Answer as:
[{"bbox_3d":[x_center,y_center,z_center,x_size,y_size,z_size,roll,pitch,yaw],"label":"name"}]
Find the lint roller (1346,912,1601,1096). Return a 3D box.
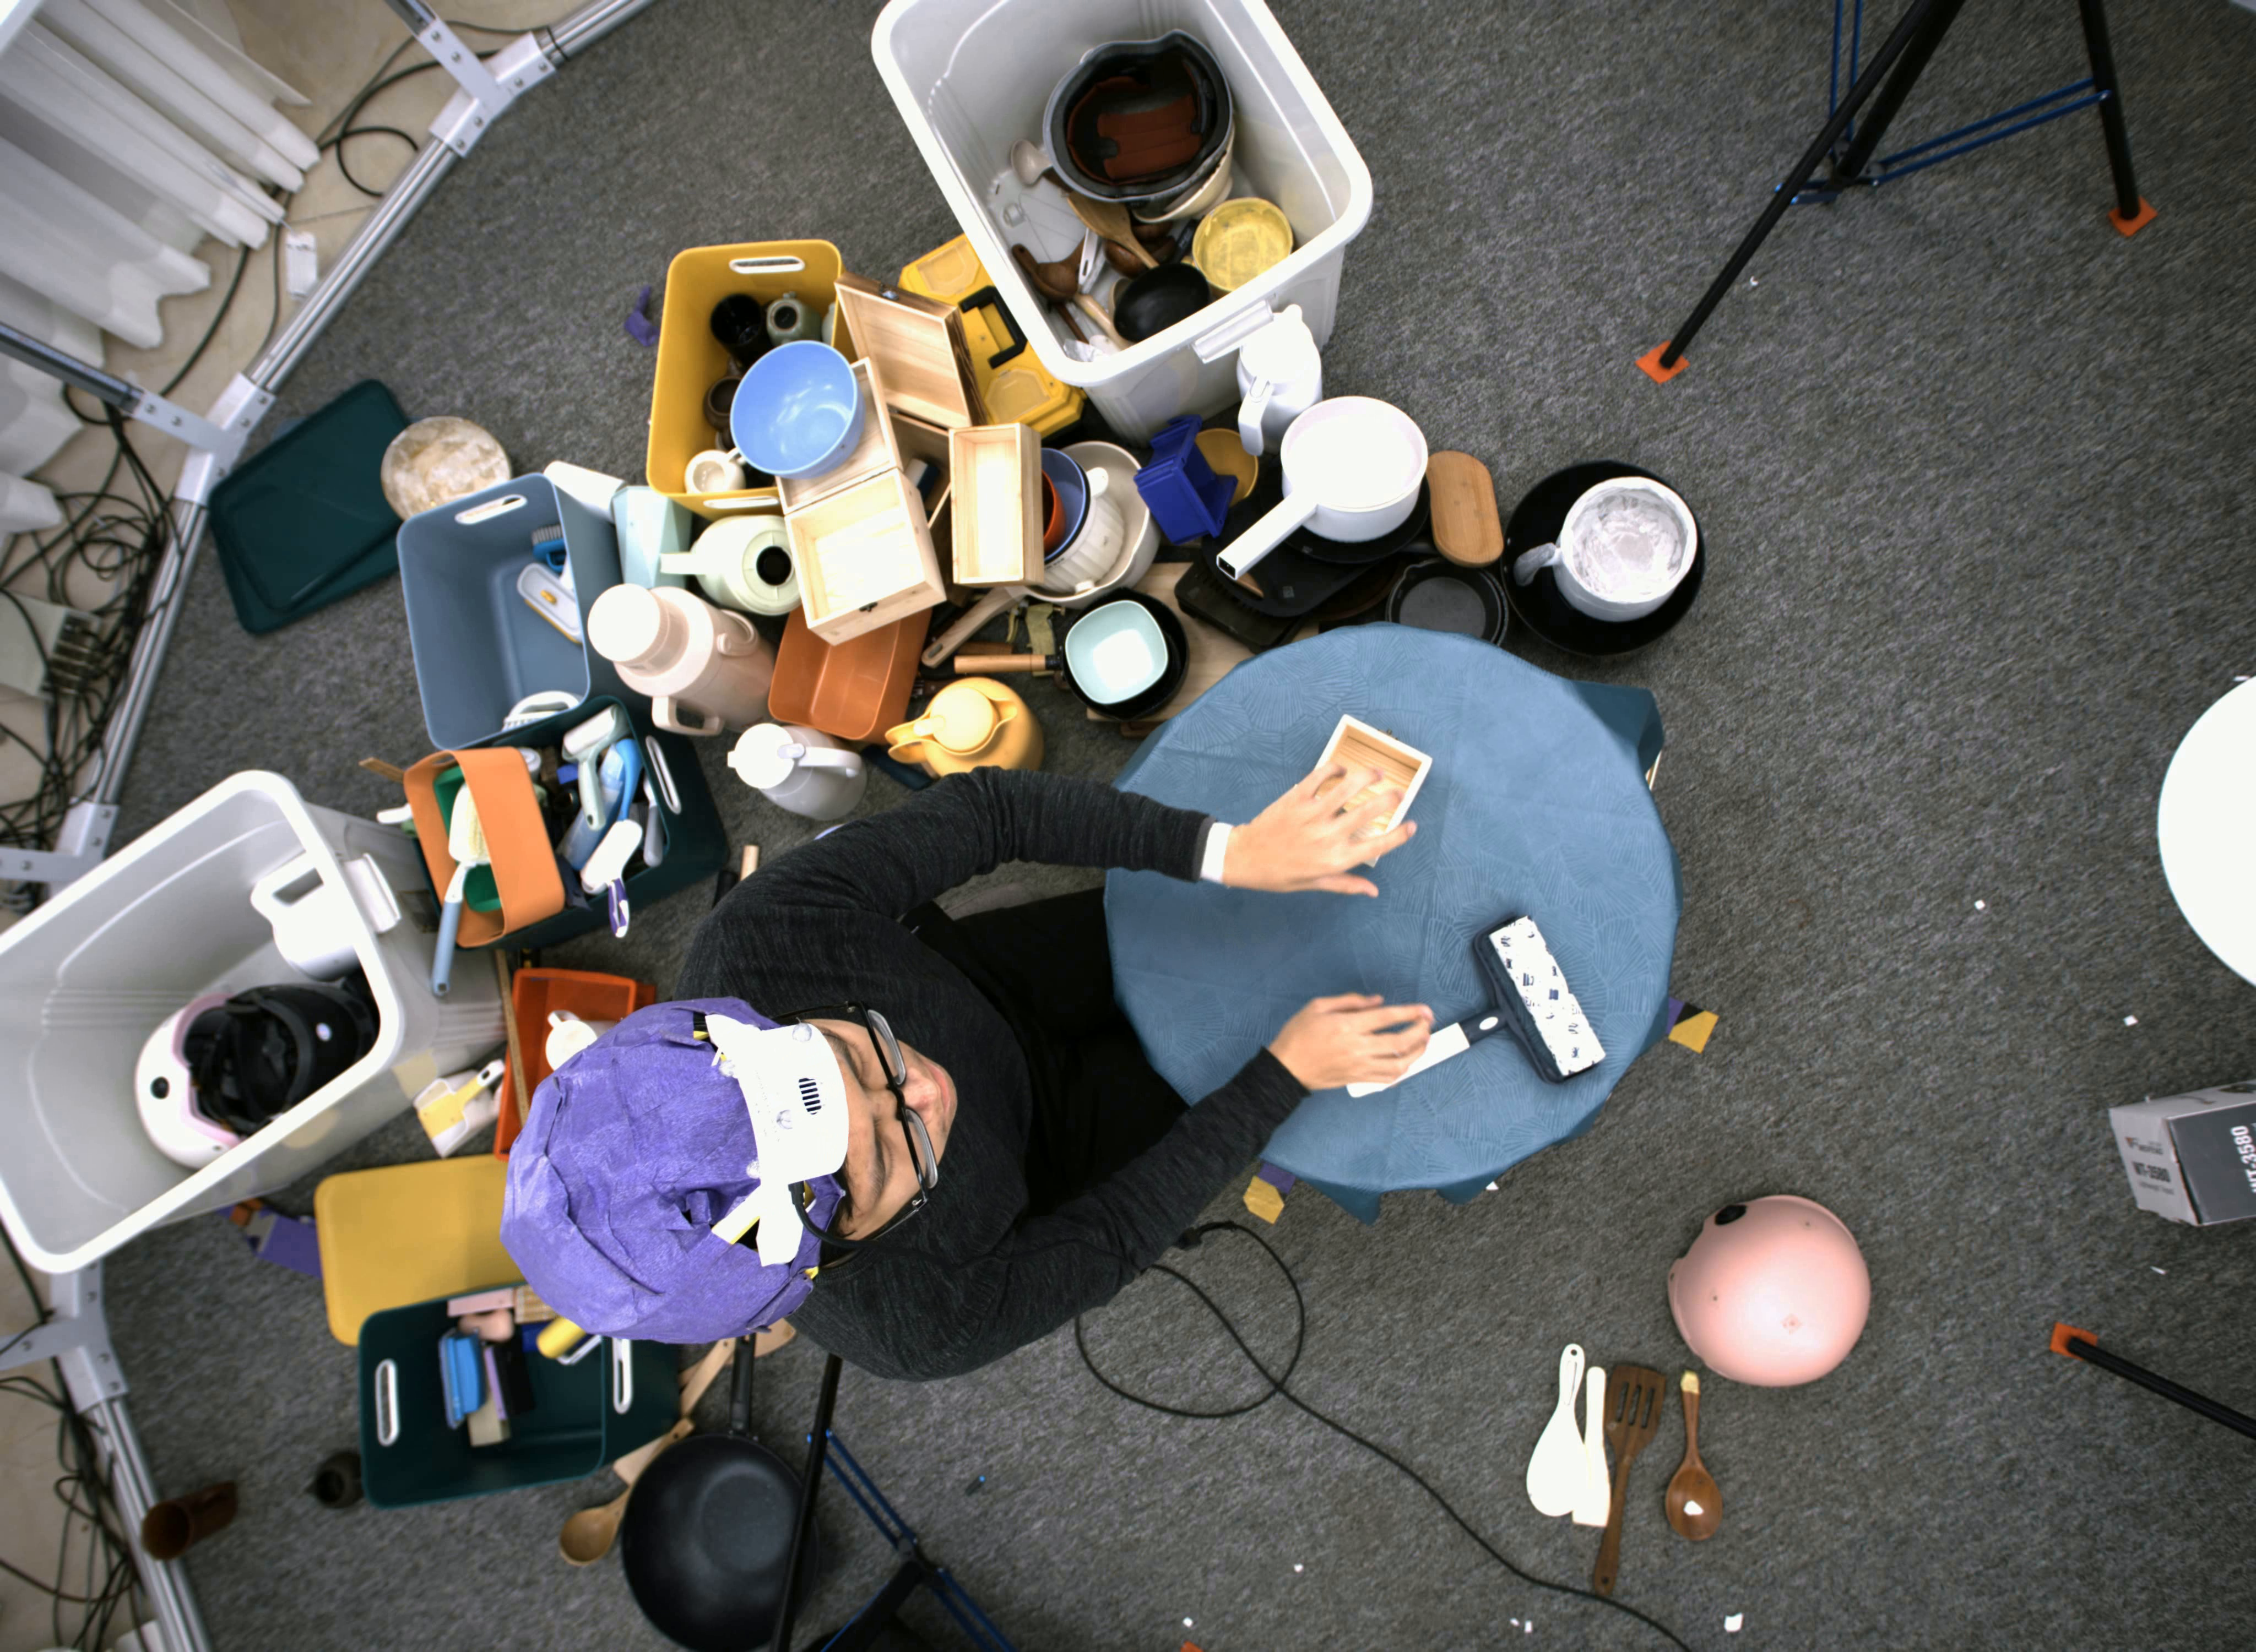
[{"bbox_3d":[0.338,0.217,1.418,0.248,0.050,0.175,-28,83,9],"label":"lint roller"}]

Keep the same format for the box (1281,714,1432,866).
[{"bbox_3d":[0.232,-0.042,1.381,0.102,0.184,0.134,28,91,12],"label":"box"}]
